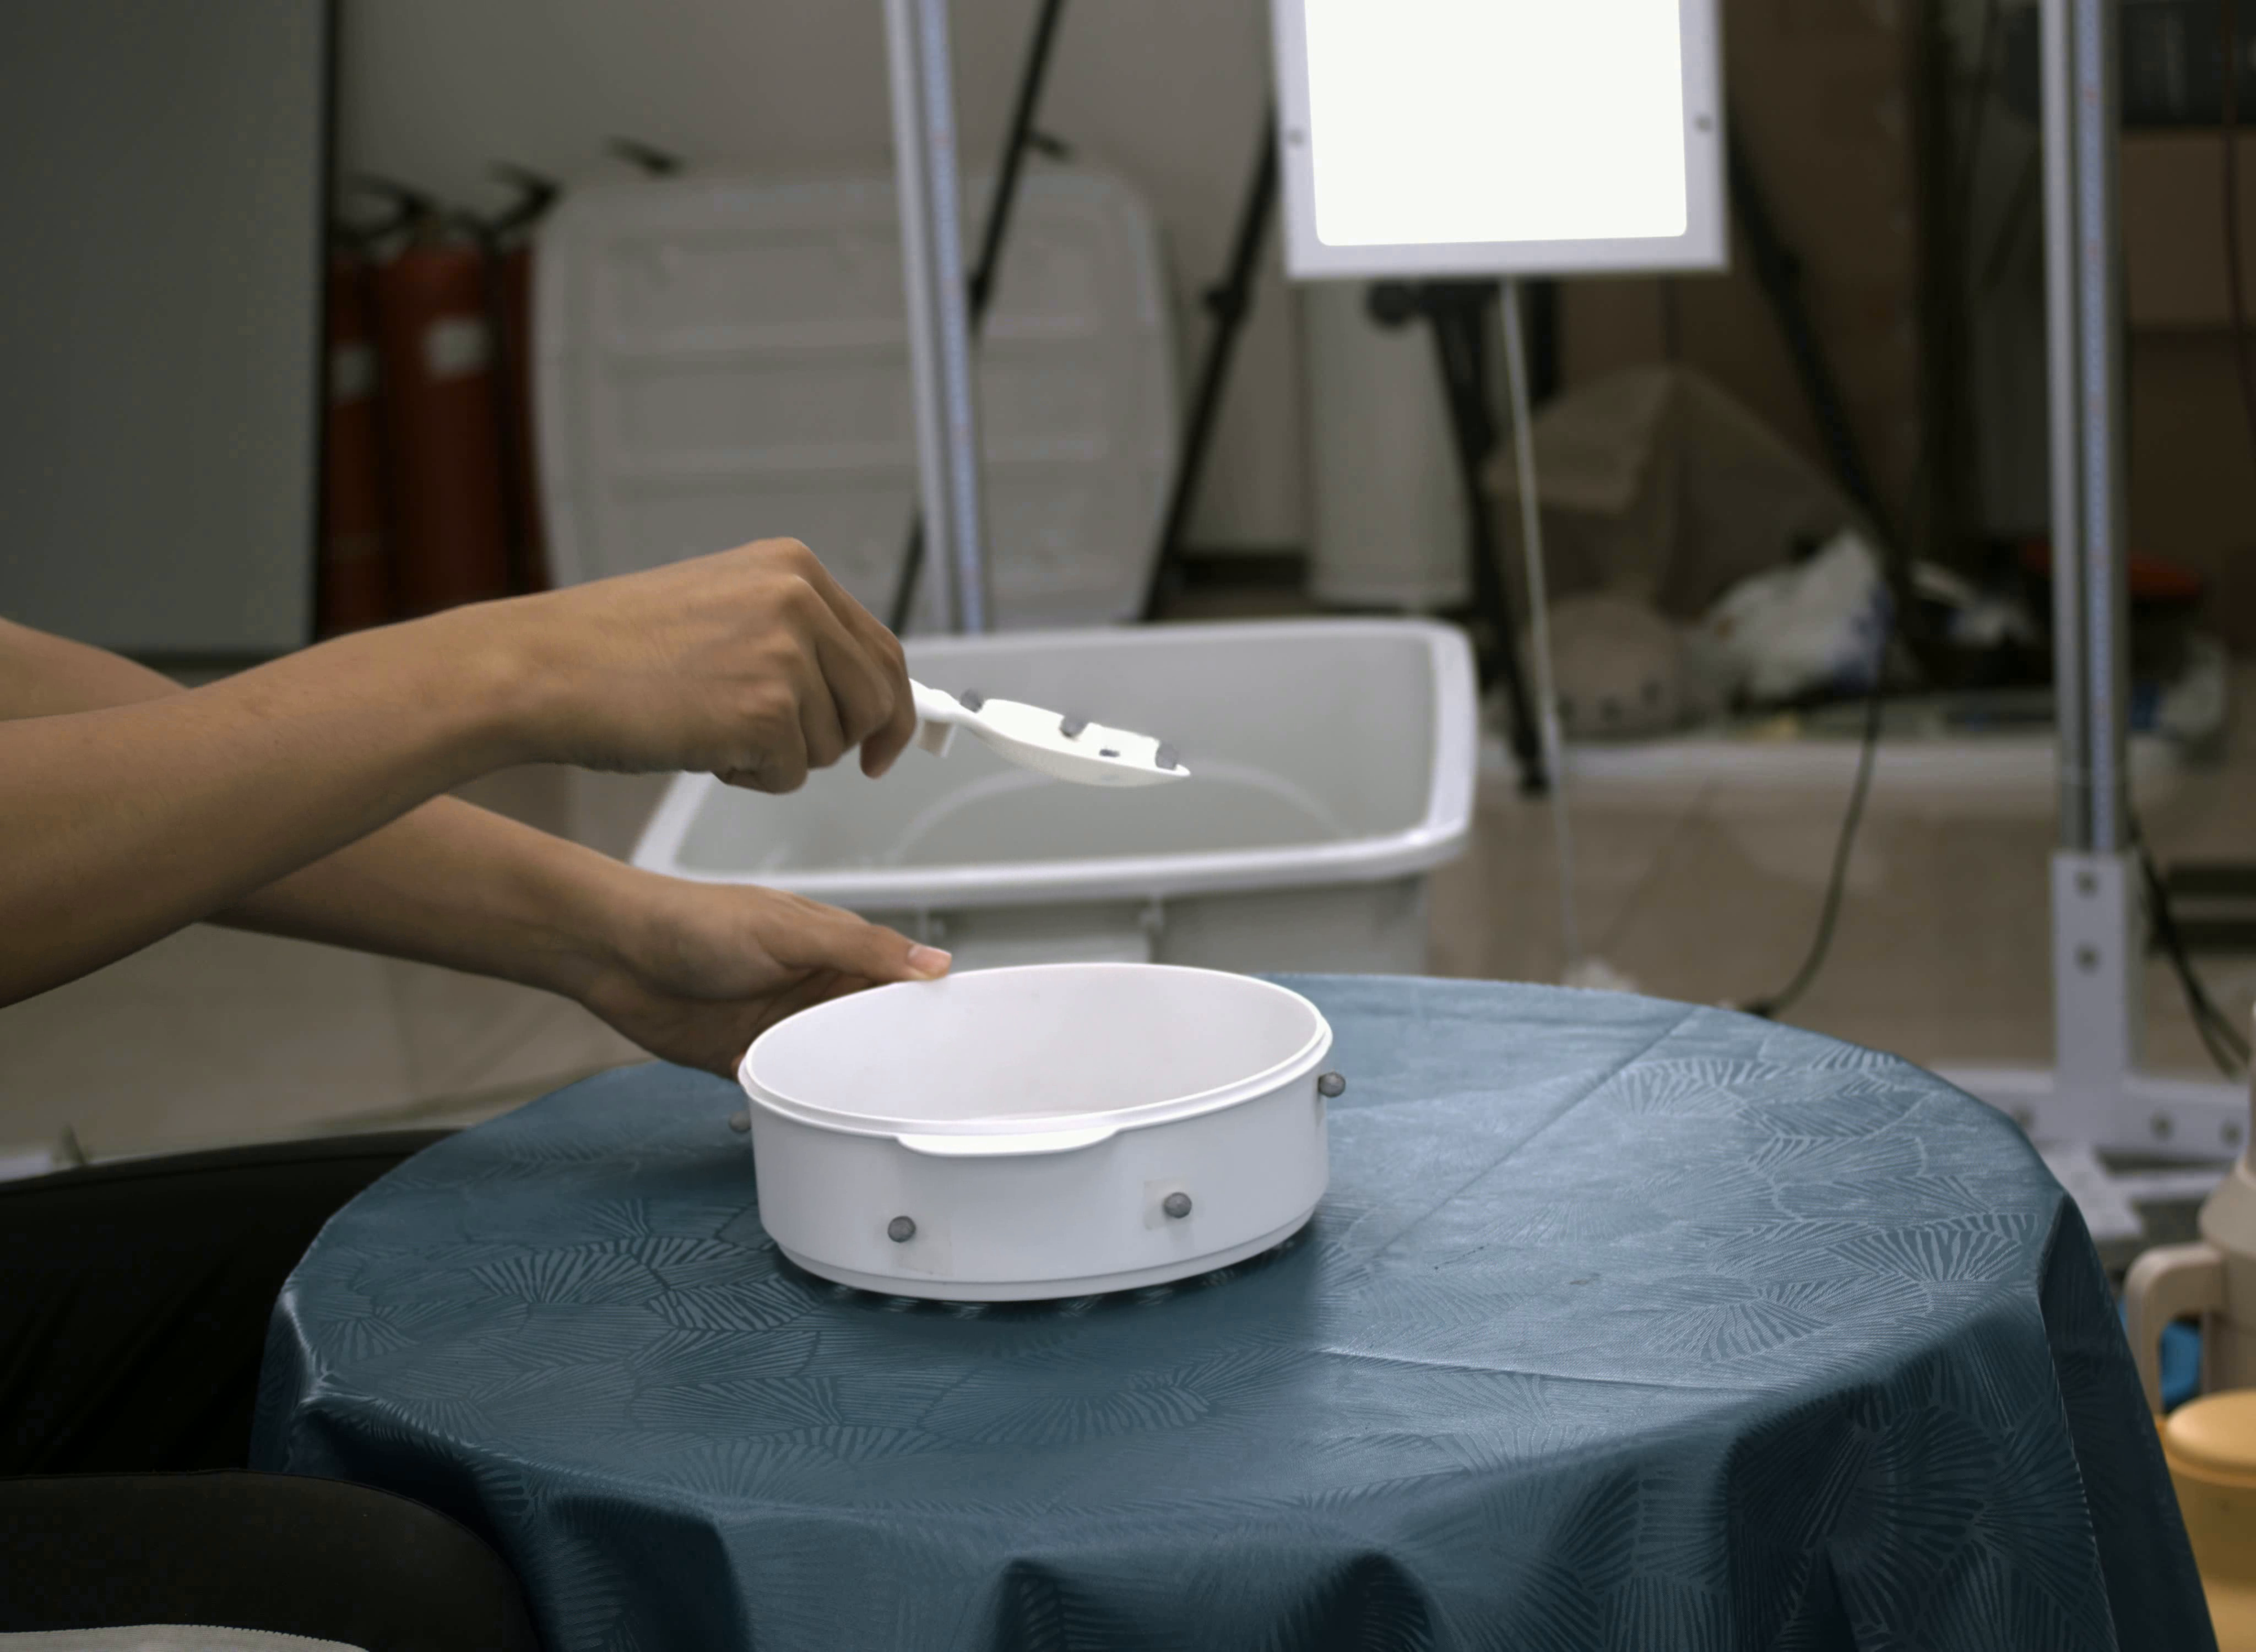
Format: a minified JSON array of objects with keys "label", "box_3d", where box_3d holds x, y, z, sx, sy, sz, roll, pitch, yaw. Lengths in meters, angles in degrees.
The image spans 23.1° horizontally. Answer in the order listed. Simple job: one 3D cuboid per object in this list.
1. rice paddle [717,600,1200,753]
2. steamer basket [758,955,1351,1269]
[{"label":"rice paddle","box_3d":[-0.051,-0.047,1.799,0.200,0.029,0.070,8,14,-46]},{"label":"steamer basket","box_3d":[-0.023,0.097,1.869,0.202,0.069,0.229,-3,11,7]}]
